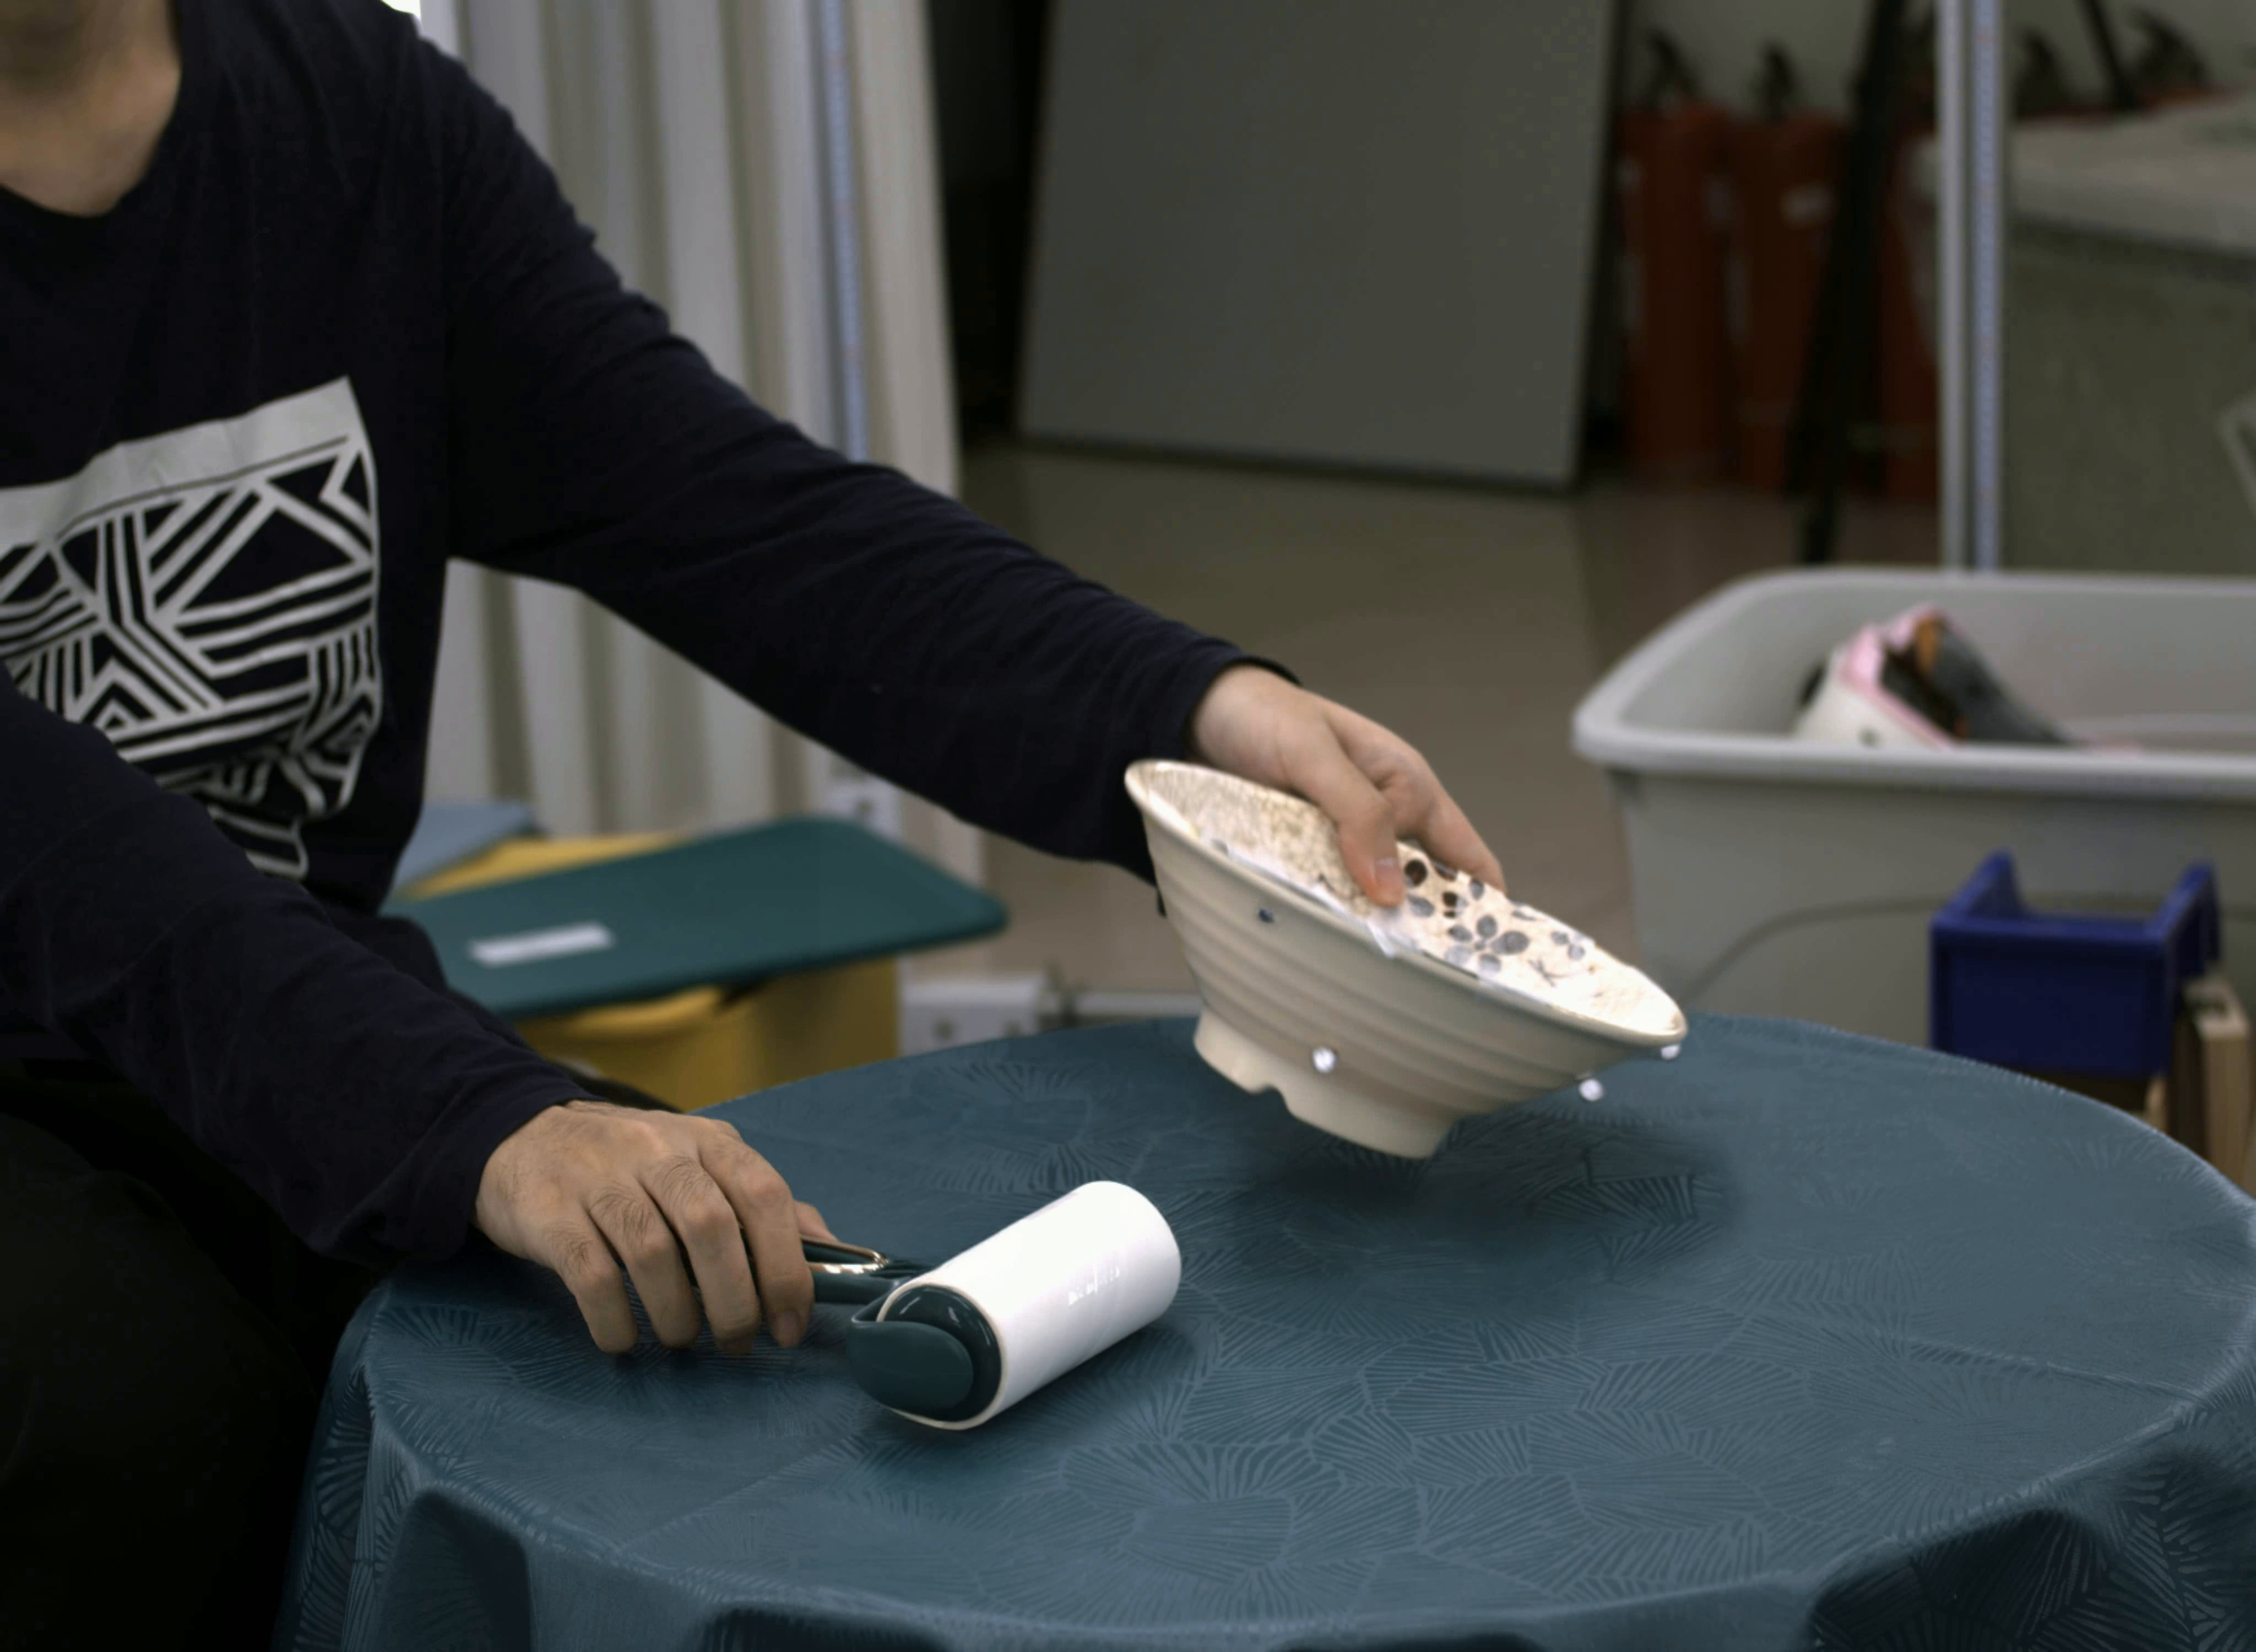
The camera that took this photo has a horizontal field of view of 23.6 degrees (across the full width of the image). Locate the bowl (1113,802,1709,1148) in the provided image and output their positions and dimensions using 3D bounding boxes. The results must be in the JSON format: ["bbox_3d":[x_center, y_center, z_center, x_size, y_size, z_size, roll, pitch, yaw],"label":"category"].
[{"bbox_3d":[0.084,0.056,1.765,0.201,0.079,0.204,13,6,-2],"label":"bowl"}]

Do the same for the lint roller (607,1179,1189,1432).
[{"bbox_3d":[-0.085,0.135,1.633,0.181,0.049,0.132,6,17,32],"label":"lint roller"}]
